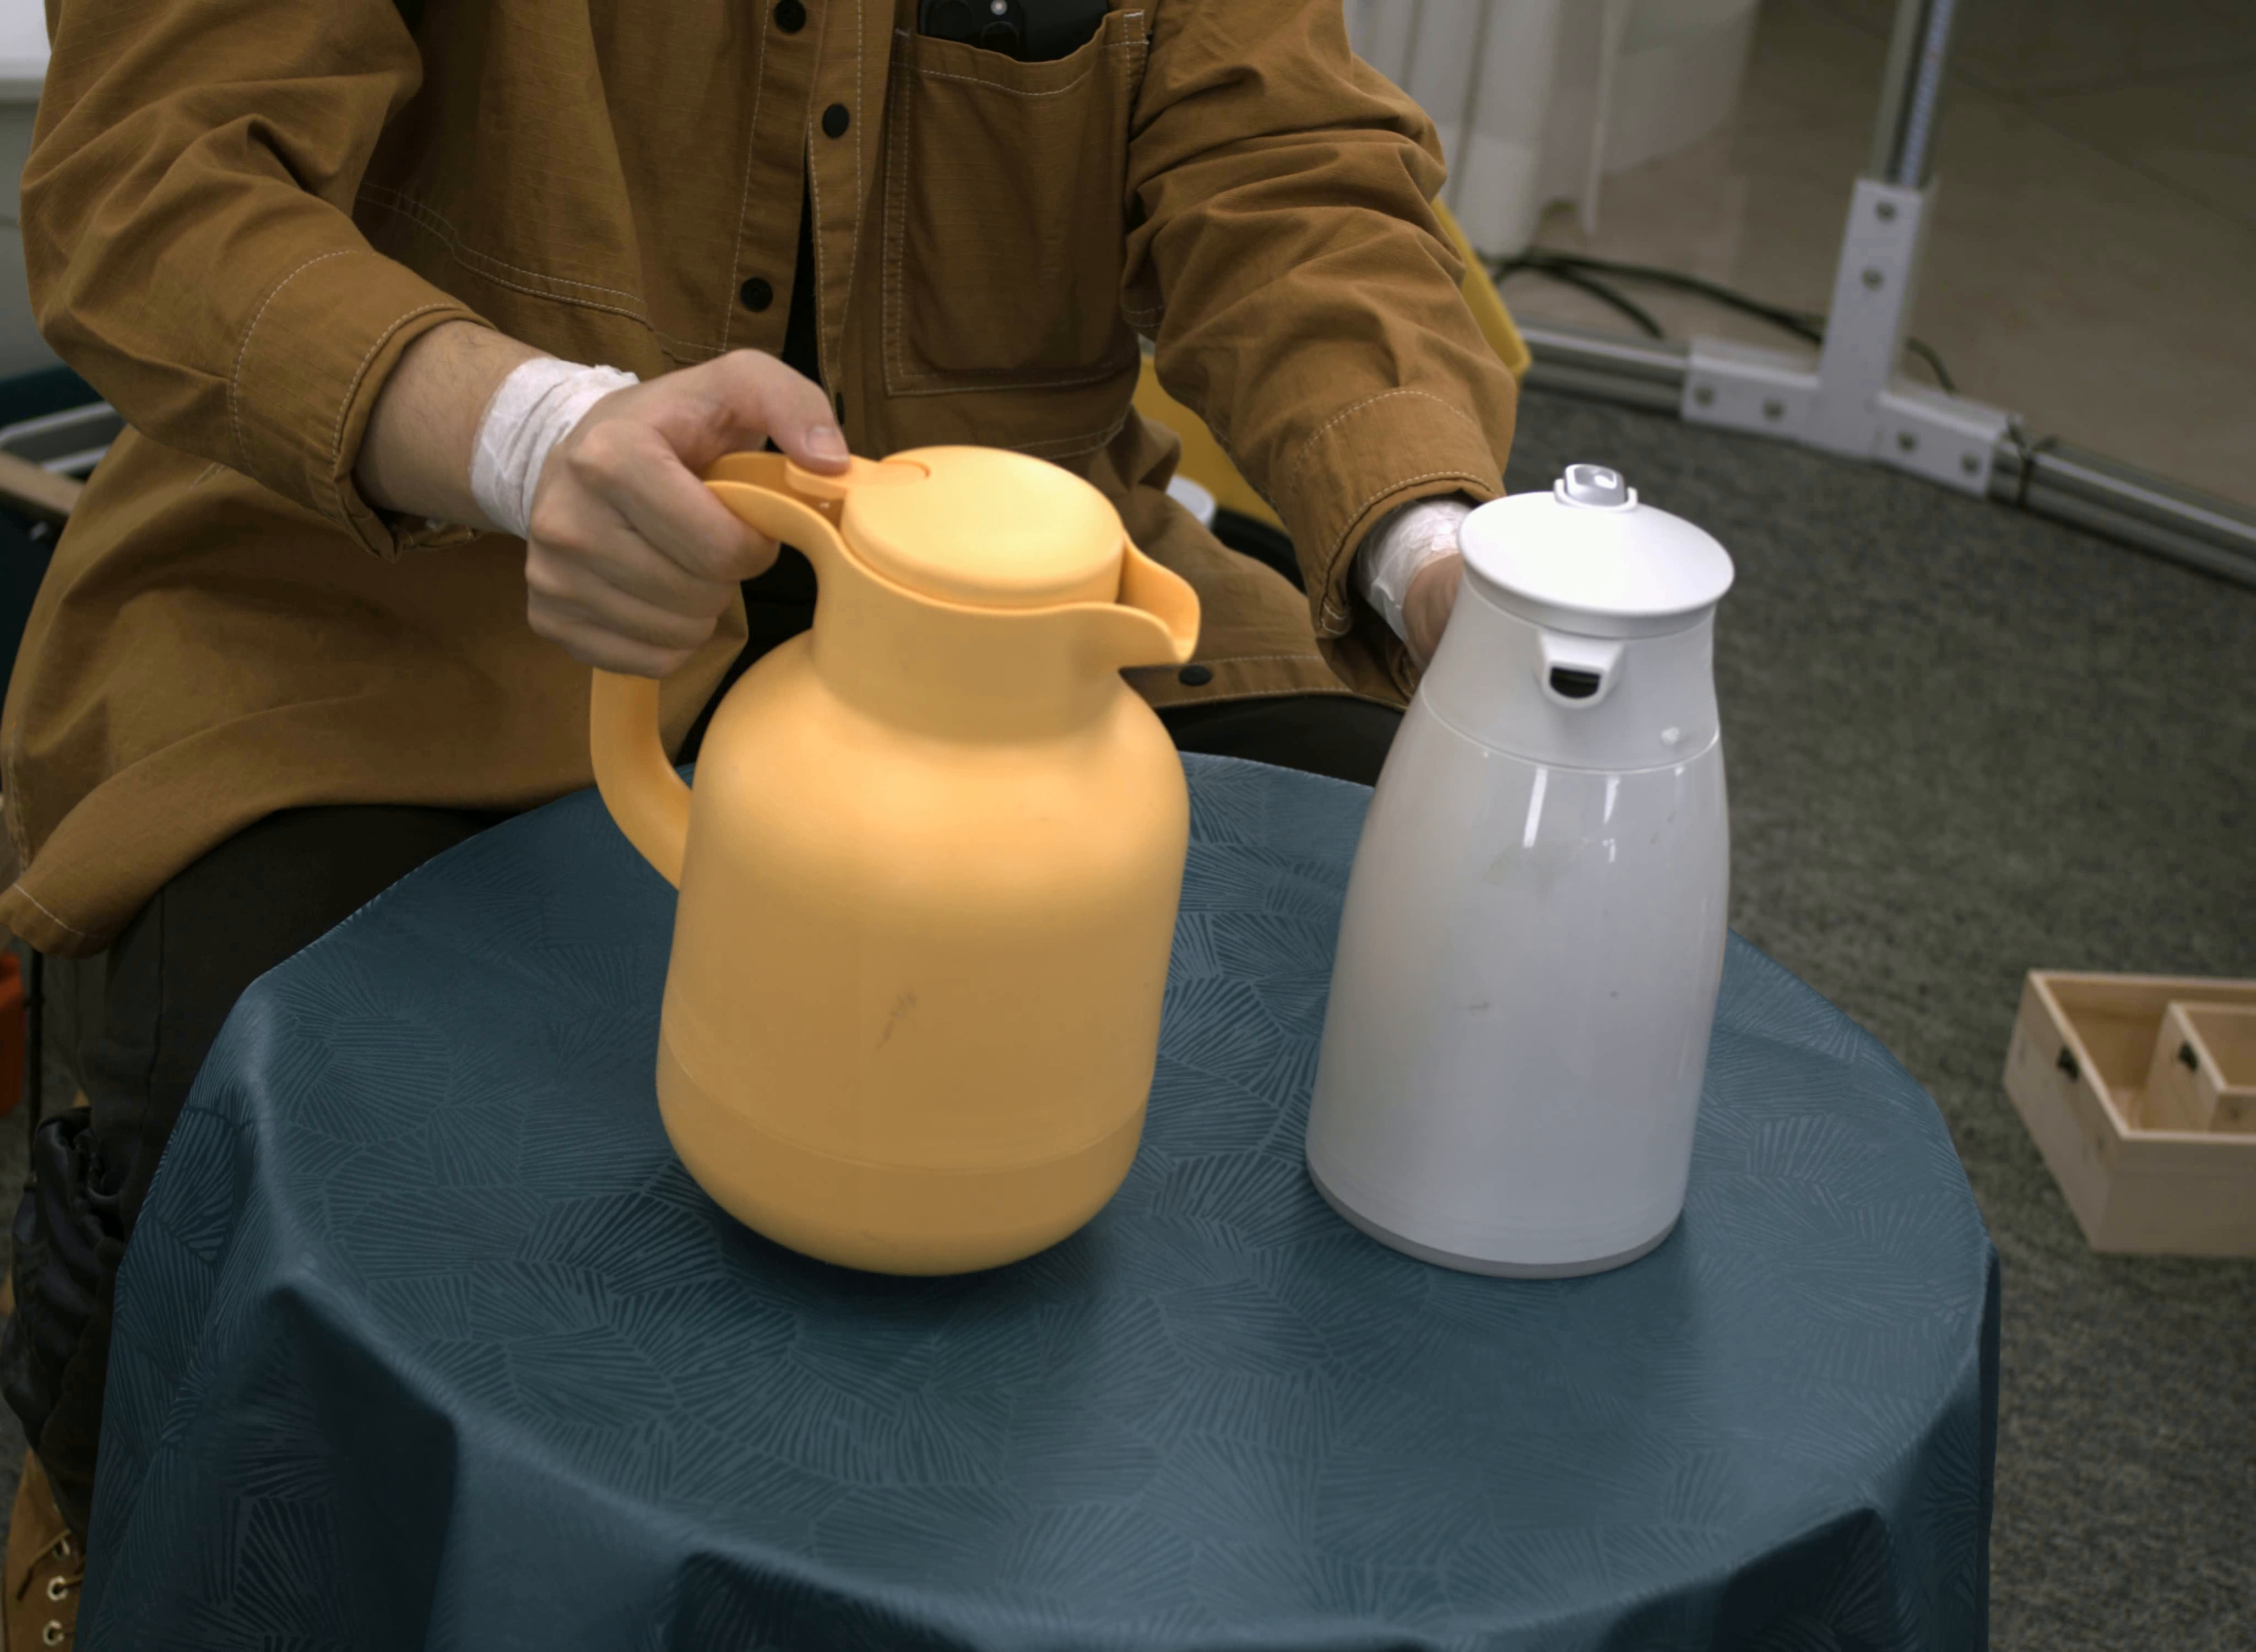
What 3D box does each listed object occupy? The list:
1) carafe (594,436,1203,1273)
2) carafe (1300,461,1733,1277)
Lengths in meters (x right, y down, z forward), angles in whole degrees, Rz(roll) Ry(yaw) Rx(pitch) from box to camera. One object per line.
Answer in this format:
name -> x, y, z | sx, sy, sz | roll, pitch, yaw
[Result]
carafe -> -0.080, -0.002, 1.722 | 0.203, 0.259, 0.163 | 21, 30, 17
carafe -> 0.139, 0.004, 1.800 | 0.132, 0.248, 0.168 | 9, 26, 4
